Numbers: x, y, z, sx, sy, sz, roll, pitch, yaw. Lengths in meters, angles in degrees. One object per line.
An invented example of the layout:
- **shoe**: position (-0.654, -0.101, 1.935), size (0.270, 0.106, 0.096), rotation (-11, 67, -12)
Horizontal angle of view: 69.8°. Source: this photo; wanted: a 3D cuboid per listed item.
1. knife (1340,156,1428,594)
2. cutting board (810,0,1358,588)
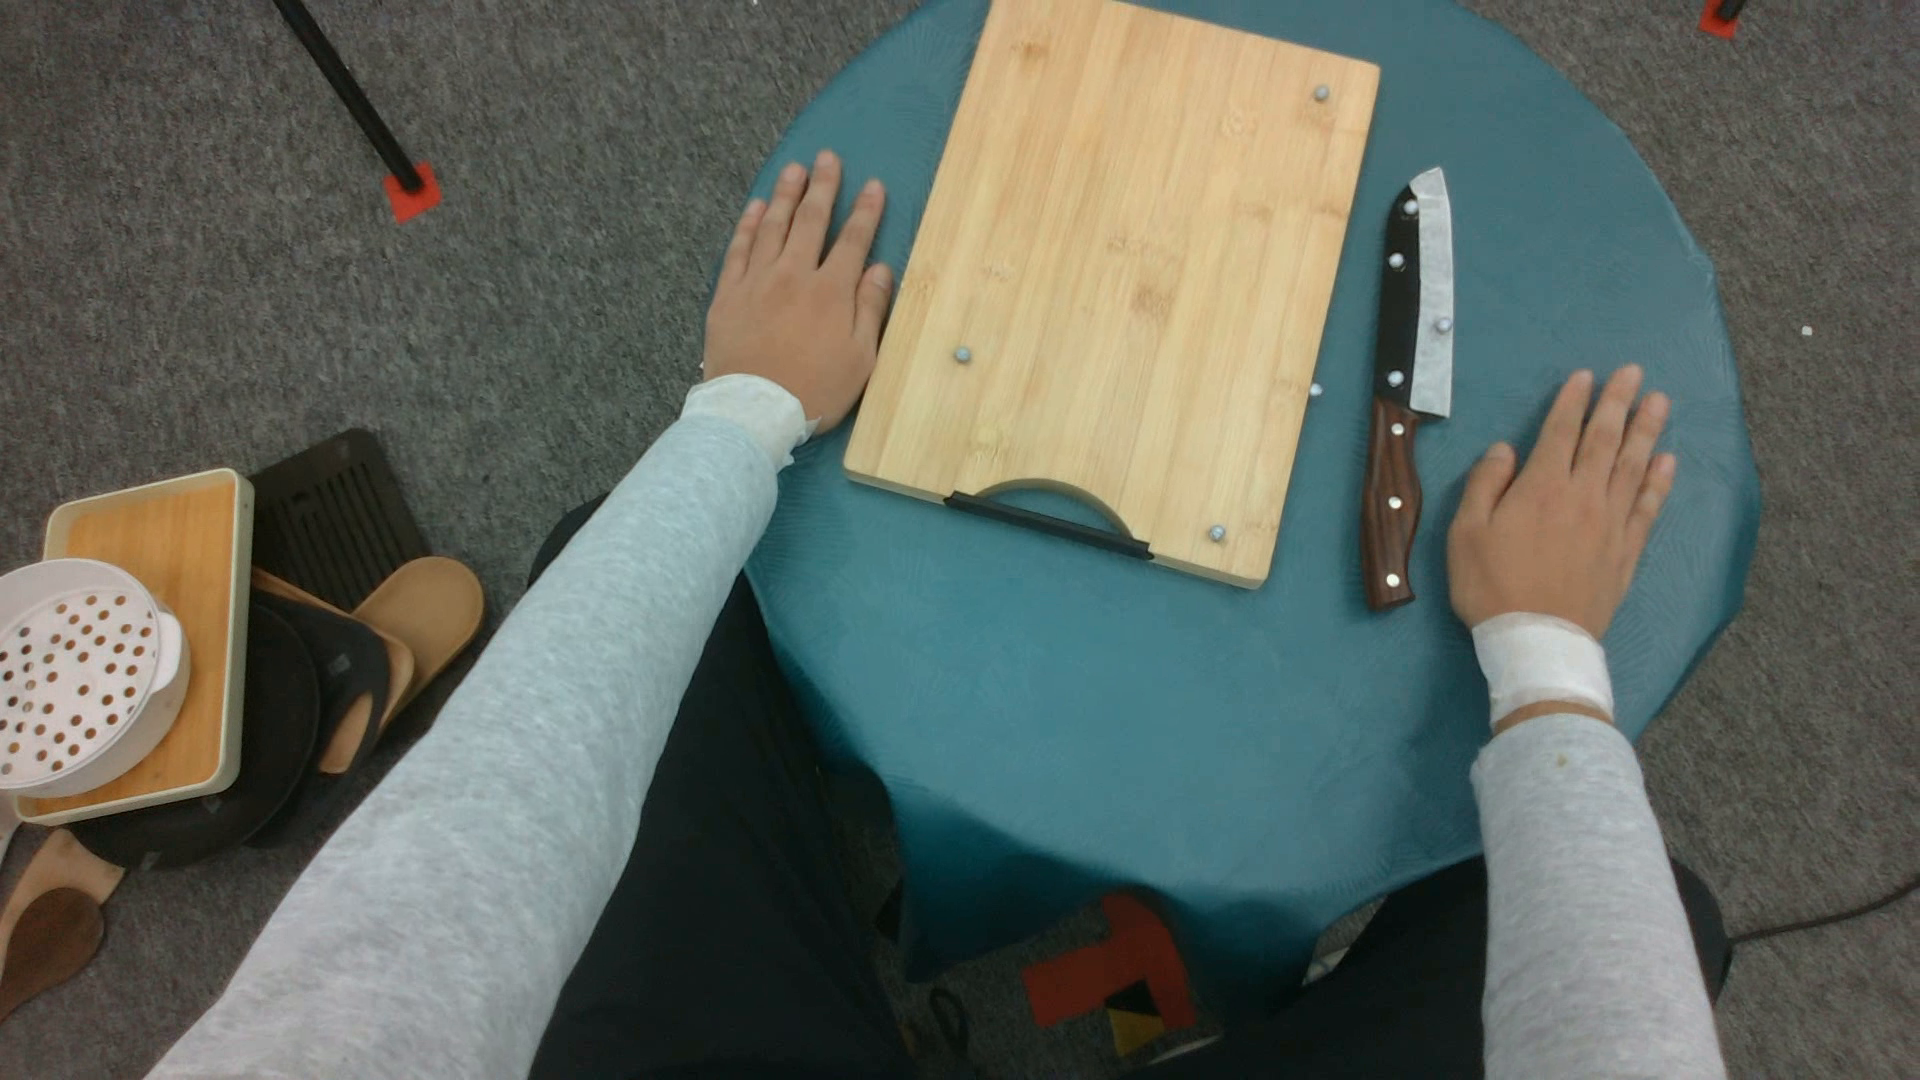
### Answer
- **knife**: position (0.245, -0.103, 0.792), size (0.050, 0.020, 0.290), rotation (13, 69, -3)
- **cutting board**: position (0.081, -0.164, 0.805), size (0.250, 0.023, 0.349), rotation (14, 72, 3)
